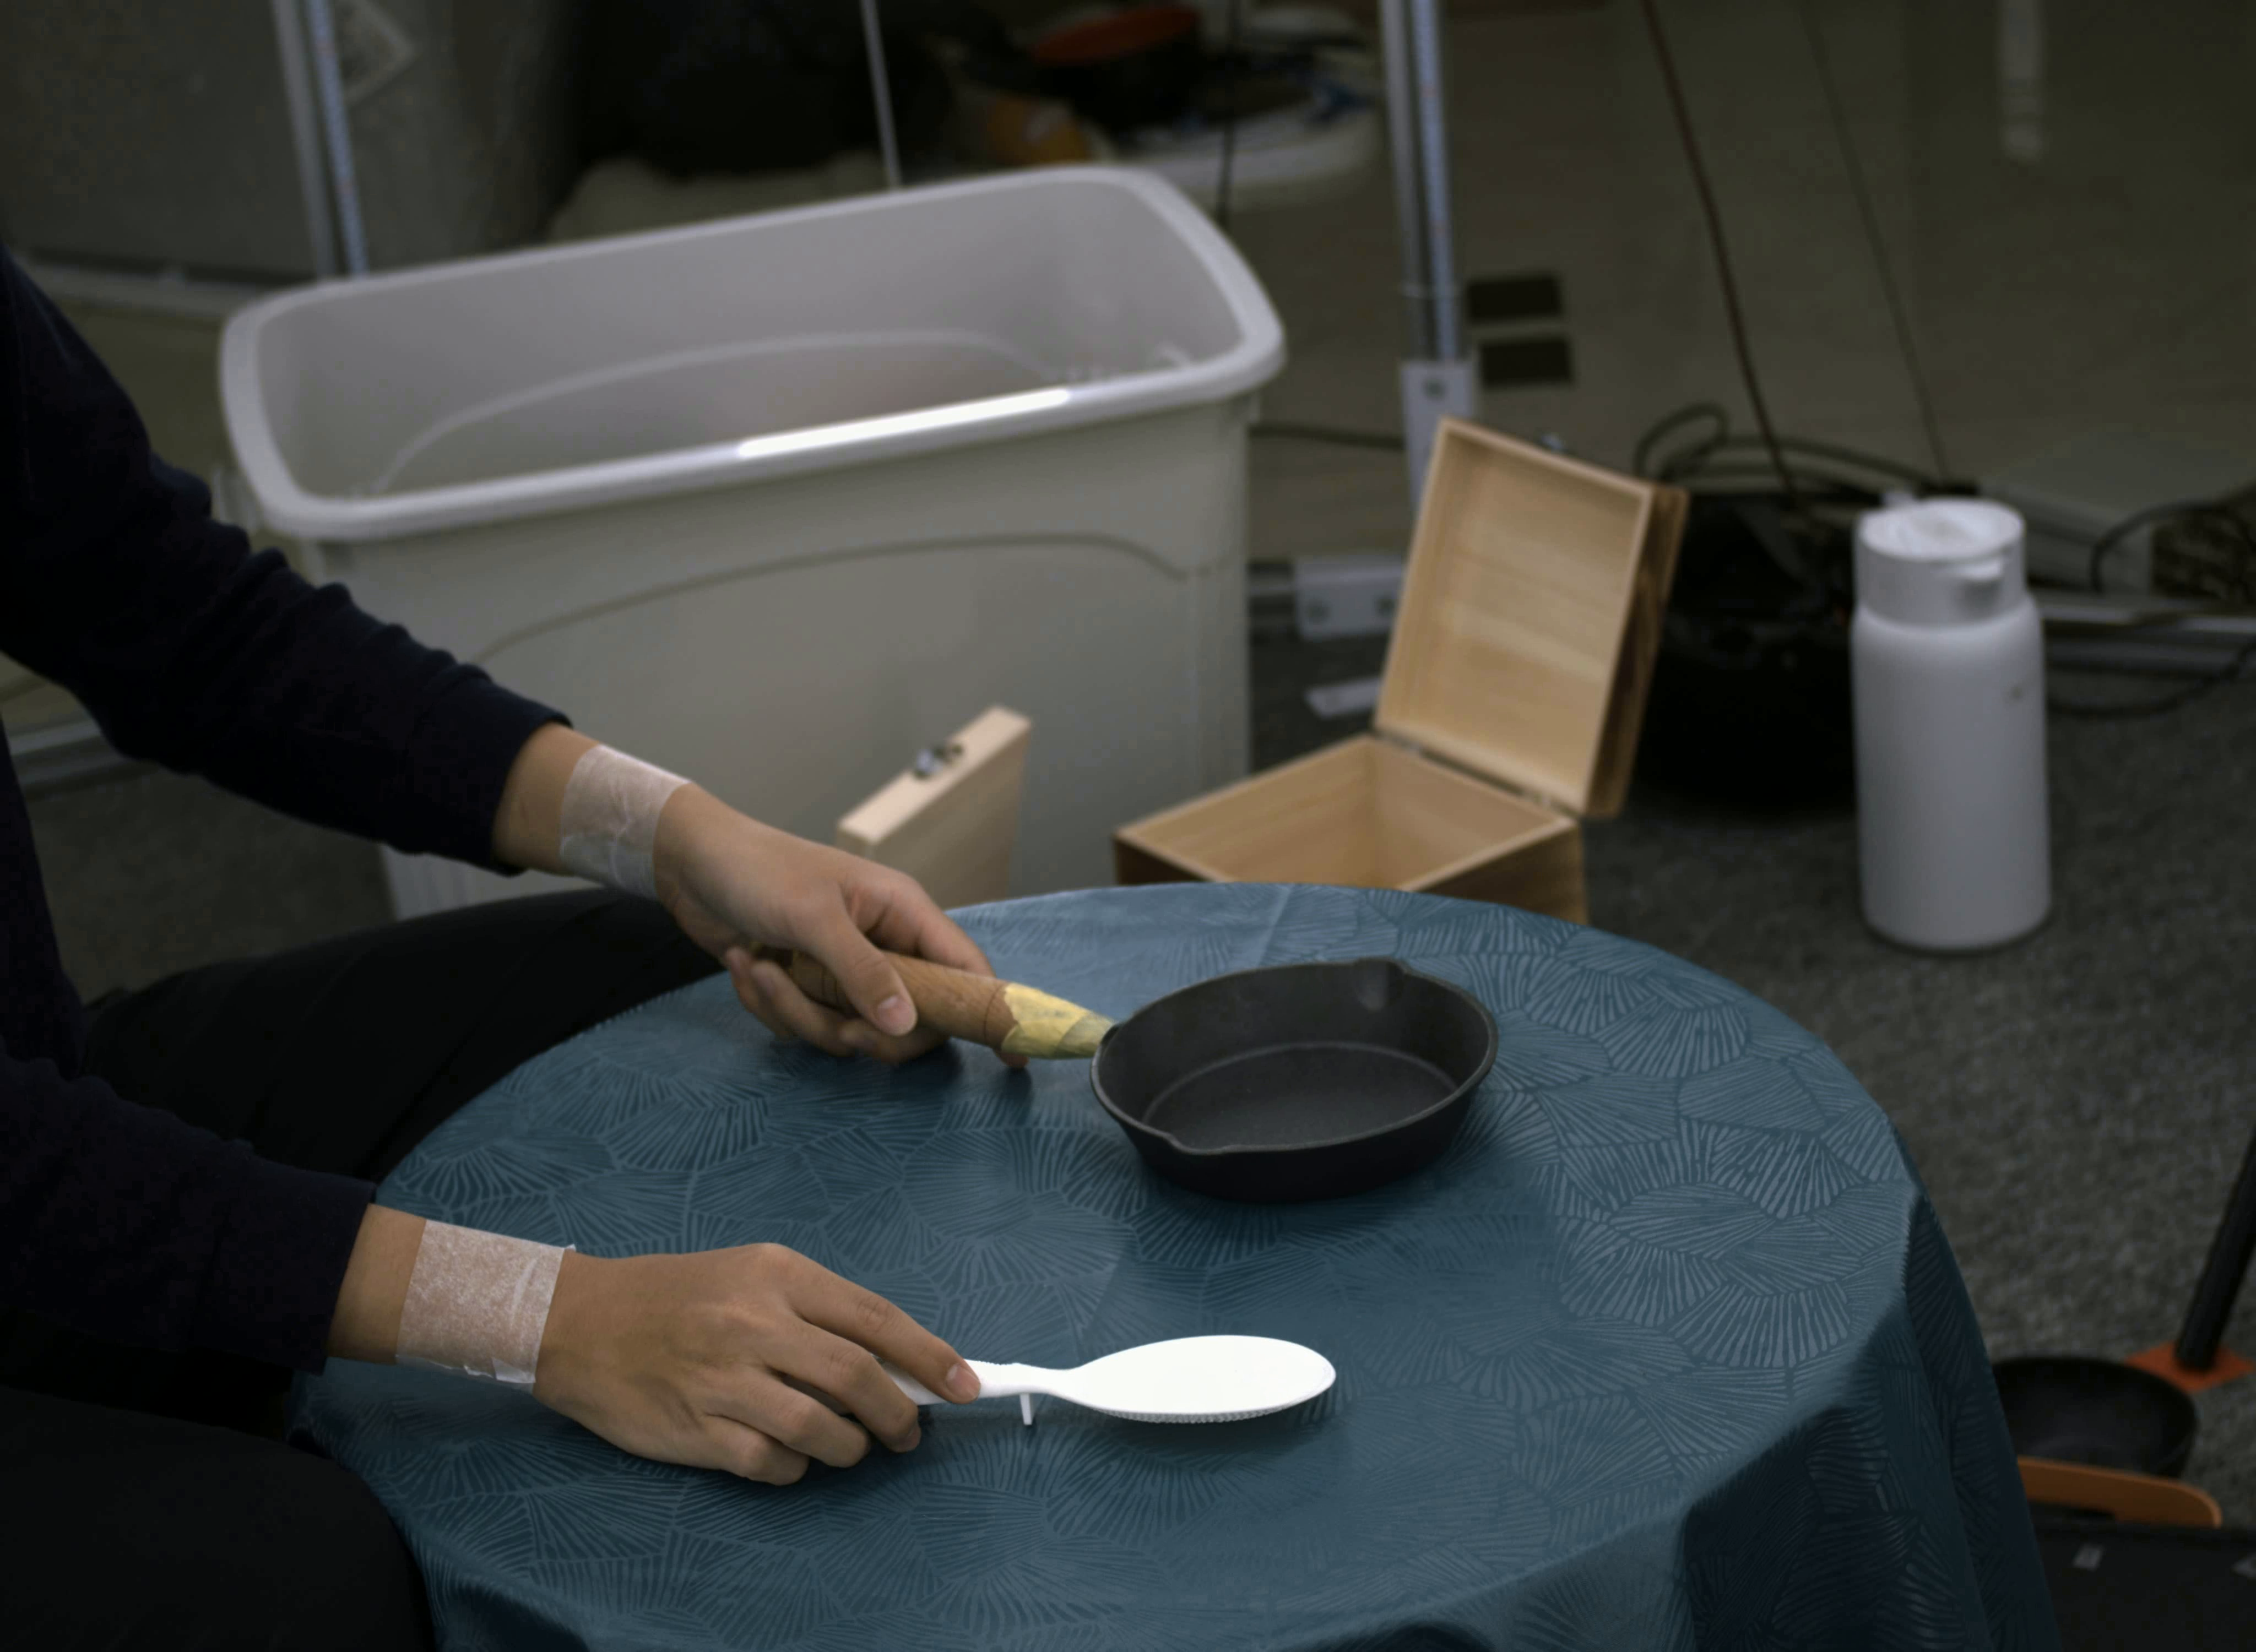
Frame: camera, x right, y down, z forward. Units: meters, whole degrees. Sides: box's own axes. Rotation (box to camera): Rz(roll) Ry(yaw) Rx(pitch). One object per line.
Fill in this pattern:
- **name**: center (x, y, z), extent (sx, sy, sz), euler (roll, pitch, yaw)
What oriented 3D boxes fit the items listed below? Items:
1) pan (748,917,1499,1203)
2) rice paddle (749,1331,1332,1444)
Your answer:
- **pan**: center (-0.009, 0.082, 2.210), extent (0.322, 0.050, 0.167), euler (10, 30, 29)
- **rice paddle**: center (-0.030, 0.195, 1.999), extent (0.205, 0.030, 0.068), euler (-4, 19, 6)
